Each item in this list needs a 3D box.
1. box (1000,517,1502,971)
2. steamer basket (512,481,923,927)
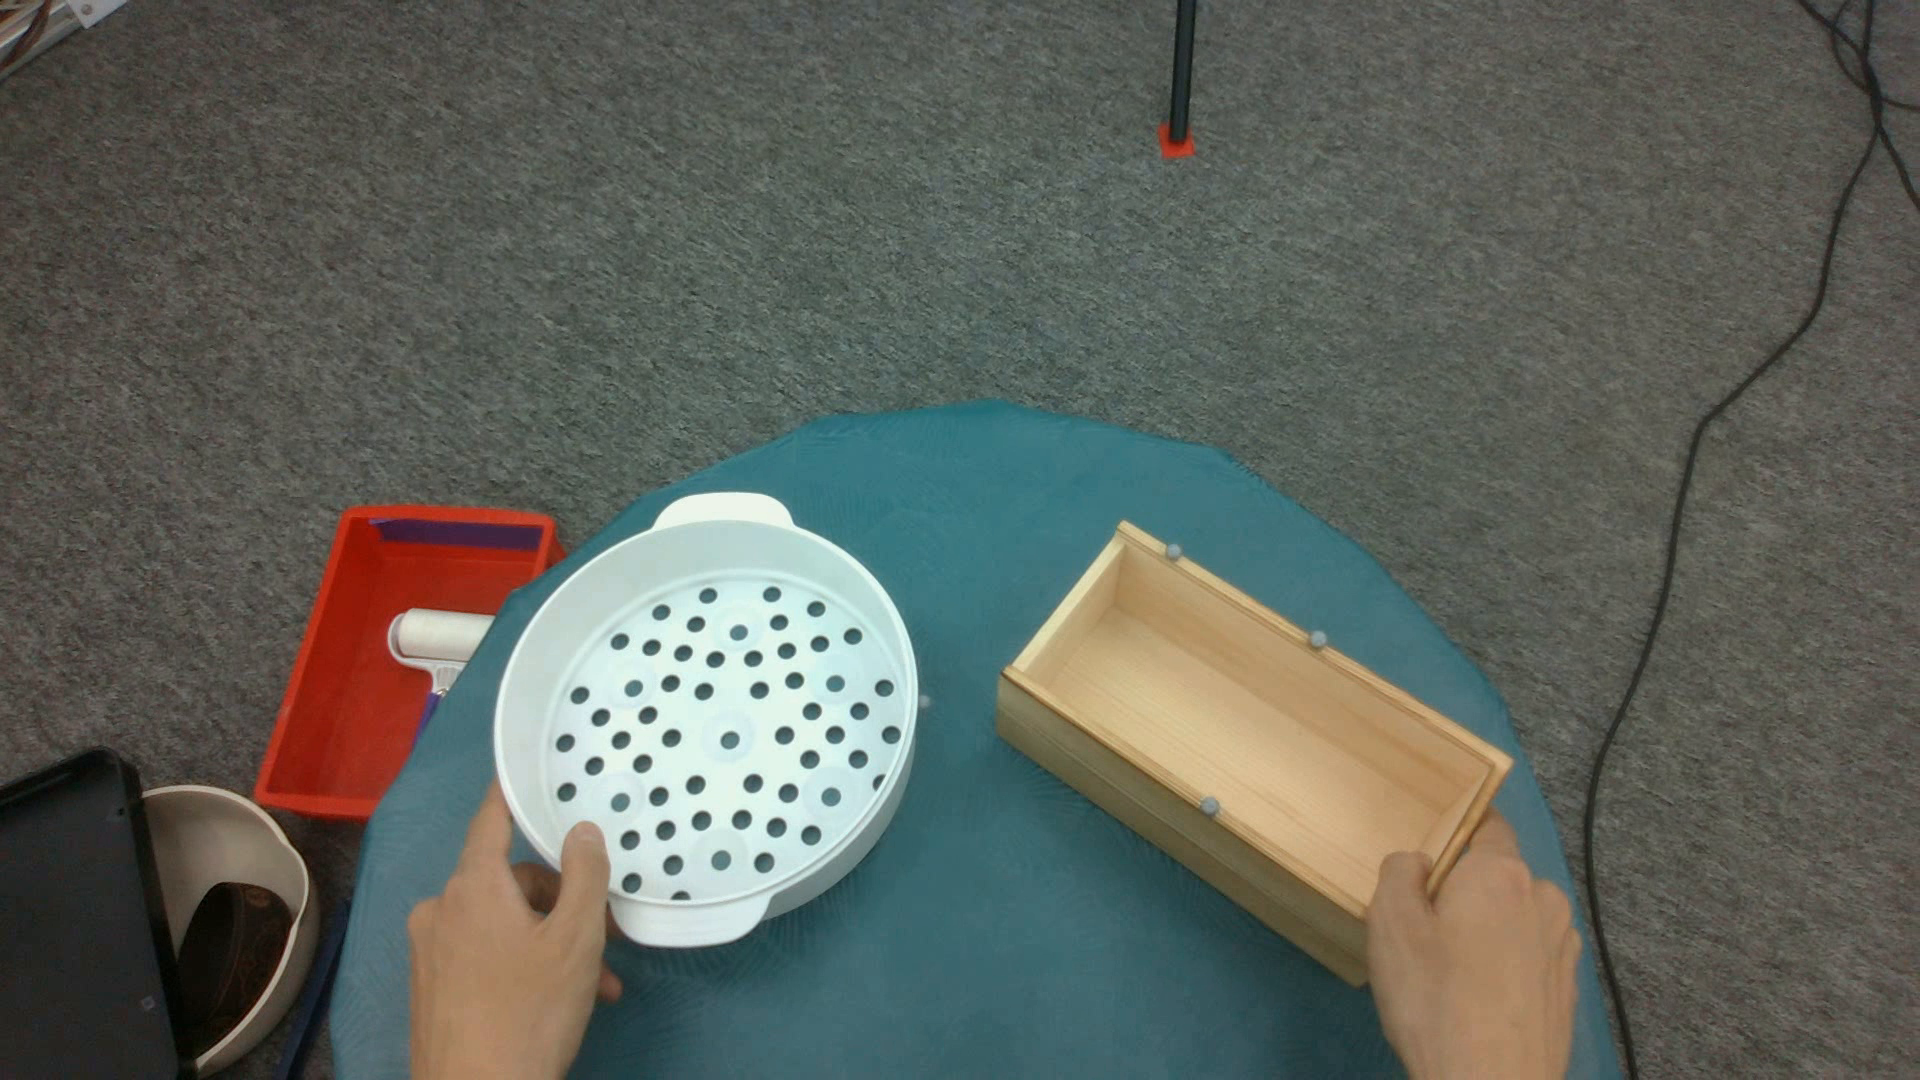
[{"bbox_3d":[0.135,0.098,0.677,0.211,0.080,0.108,33,67,17],"label":"box"},{"bbox_3d":[-0.119,0.084,0.701,0.202,0.069,0.231,-1,63,2],"label":"steamer basket"}]
